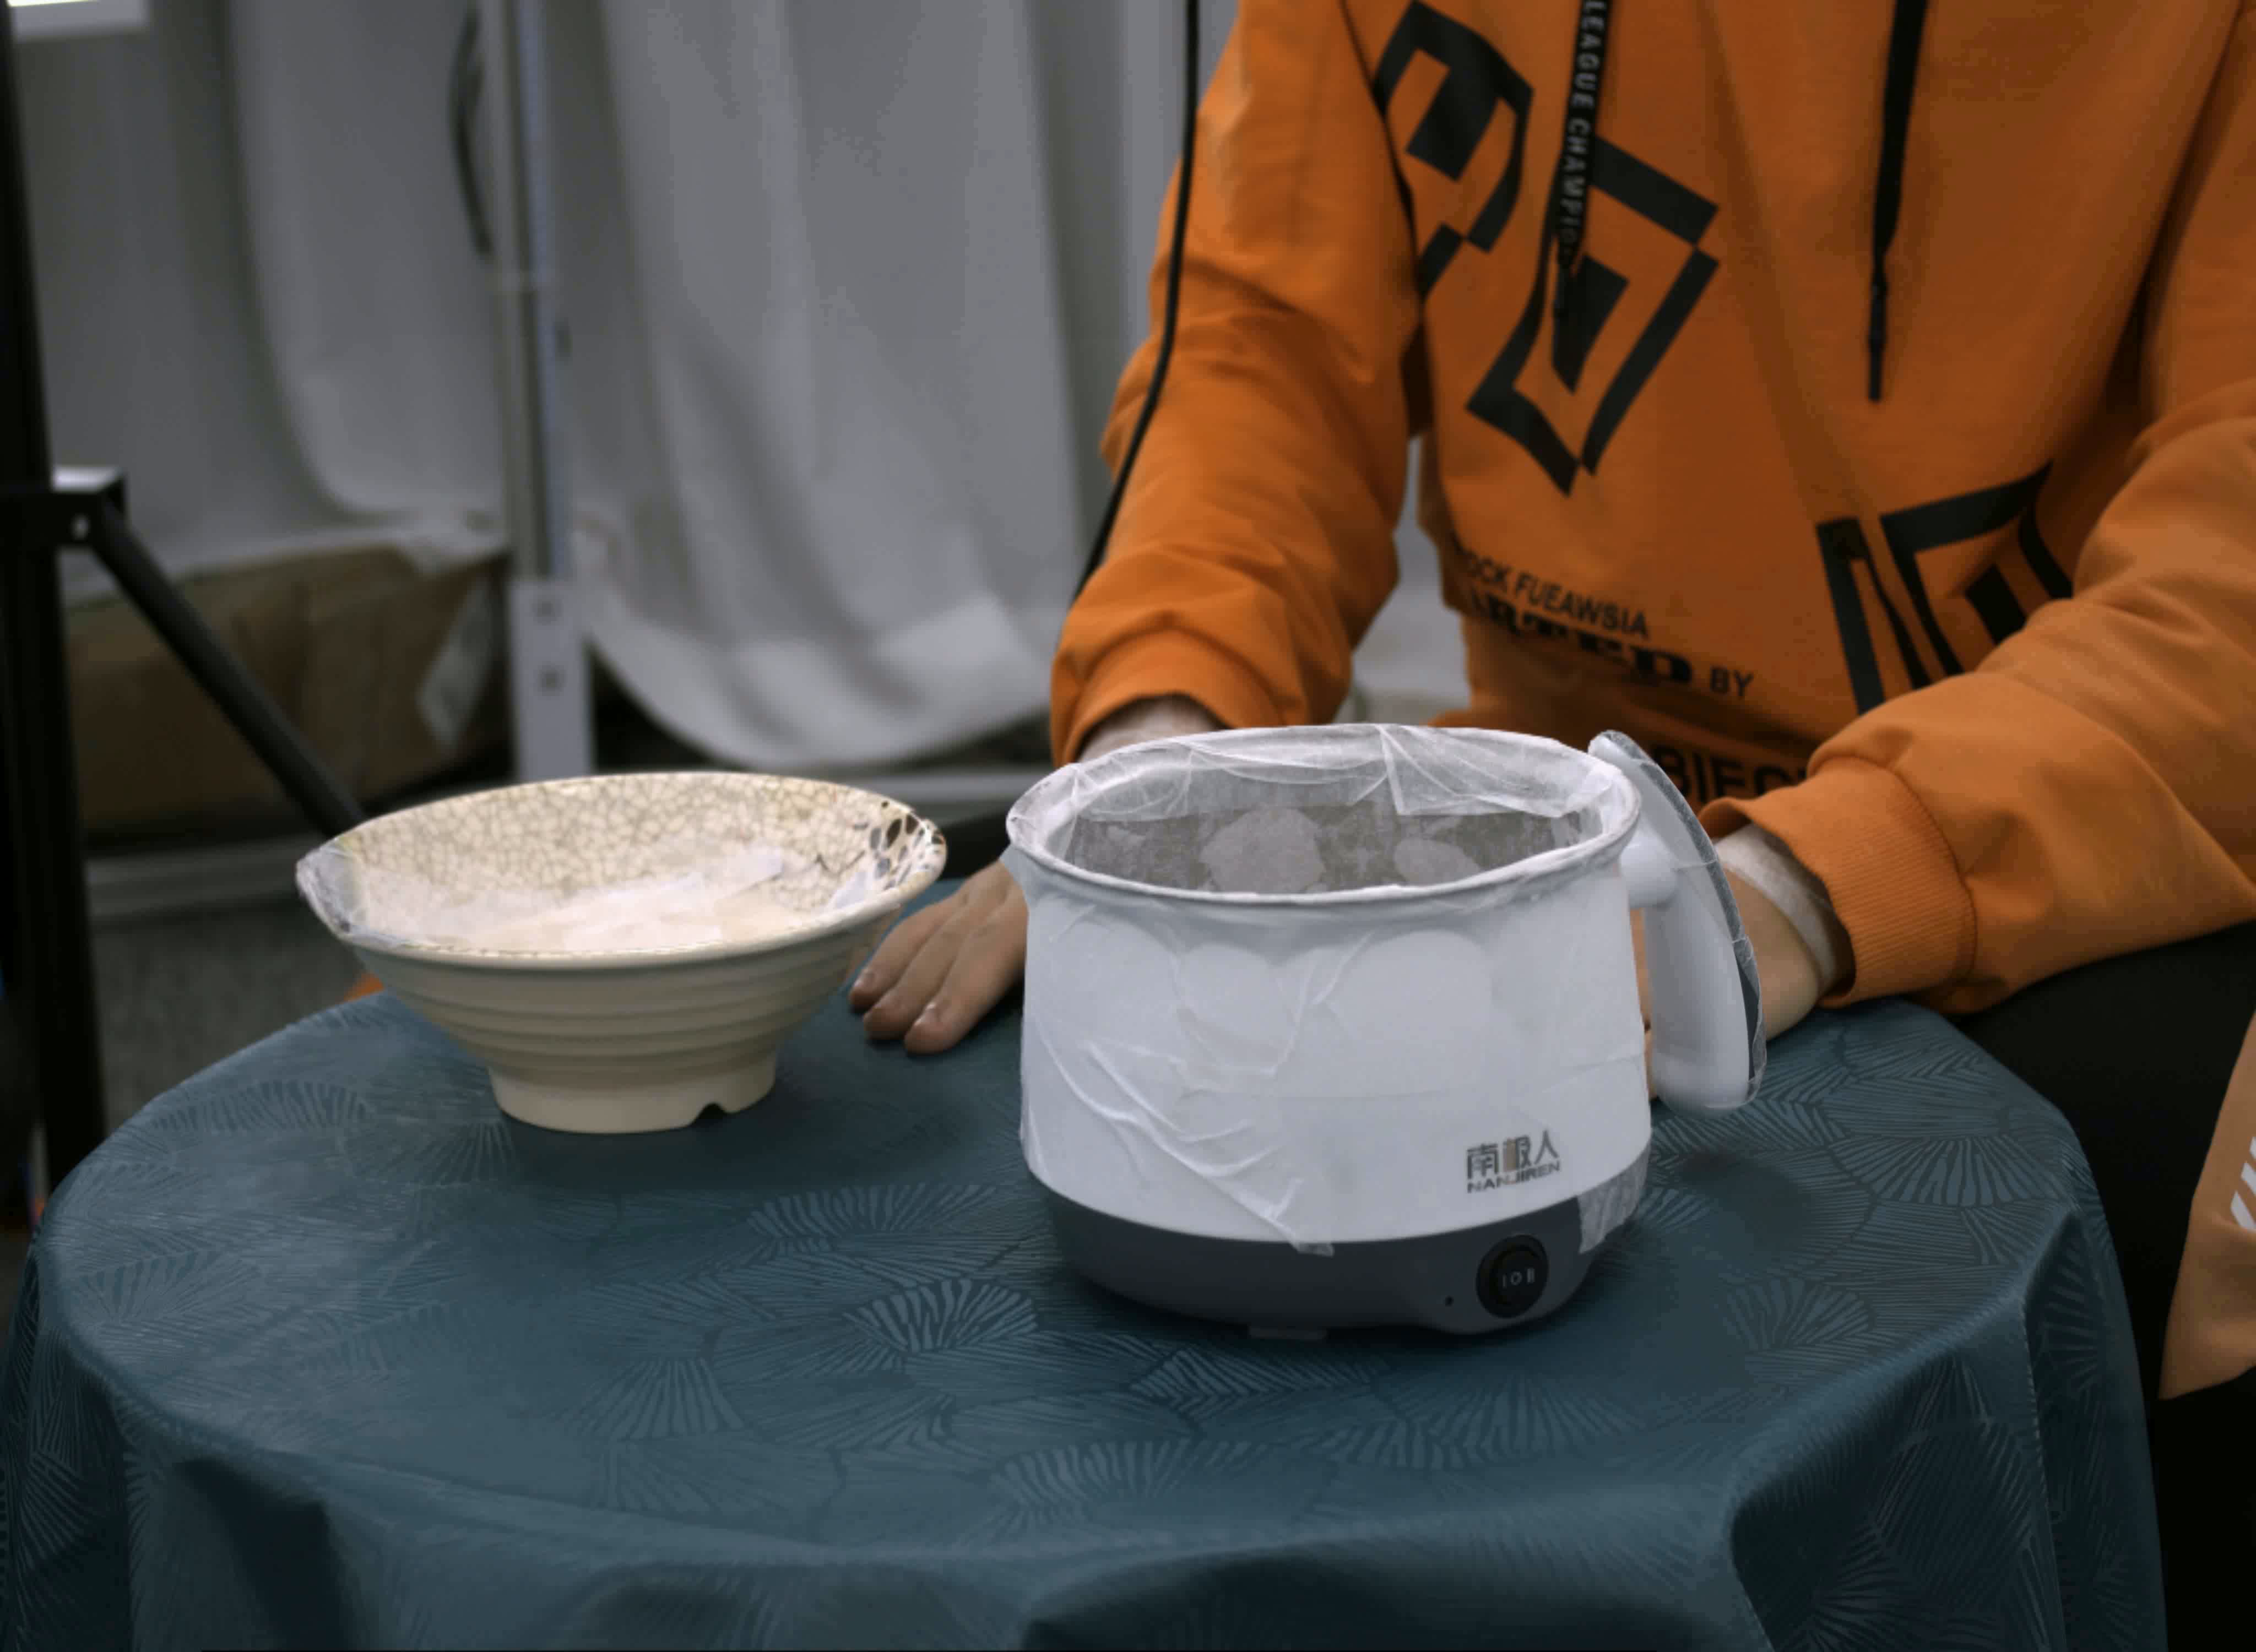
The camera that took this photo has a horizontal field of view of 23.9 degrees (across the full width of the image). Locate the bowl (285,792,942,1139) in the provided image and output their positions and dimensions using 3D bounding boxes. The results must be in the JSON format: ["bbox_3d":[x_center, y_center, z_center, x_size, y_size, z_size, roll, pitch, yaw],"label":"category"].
[{"bbox_3d":[-0.159,0.049,1.663,0.203,0.078,0.205,0,13,-1],"label":"bowl"}]

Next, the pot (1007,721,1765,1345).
[{"bbox_3d":[0.080,0.051,1.495,0.228,0.136,0.183,-12,18,-30],"label":"pot"}]
